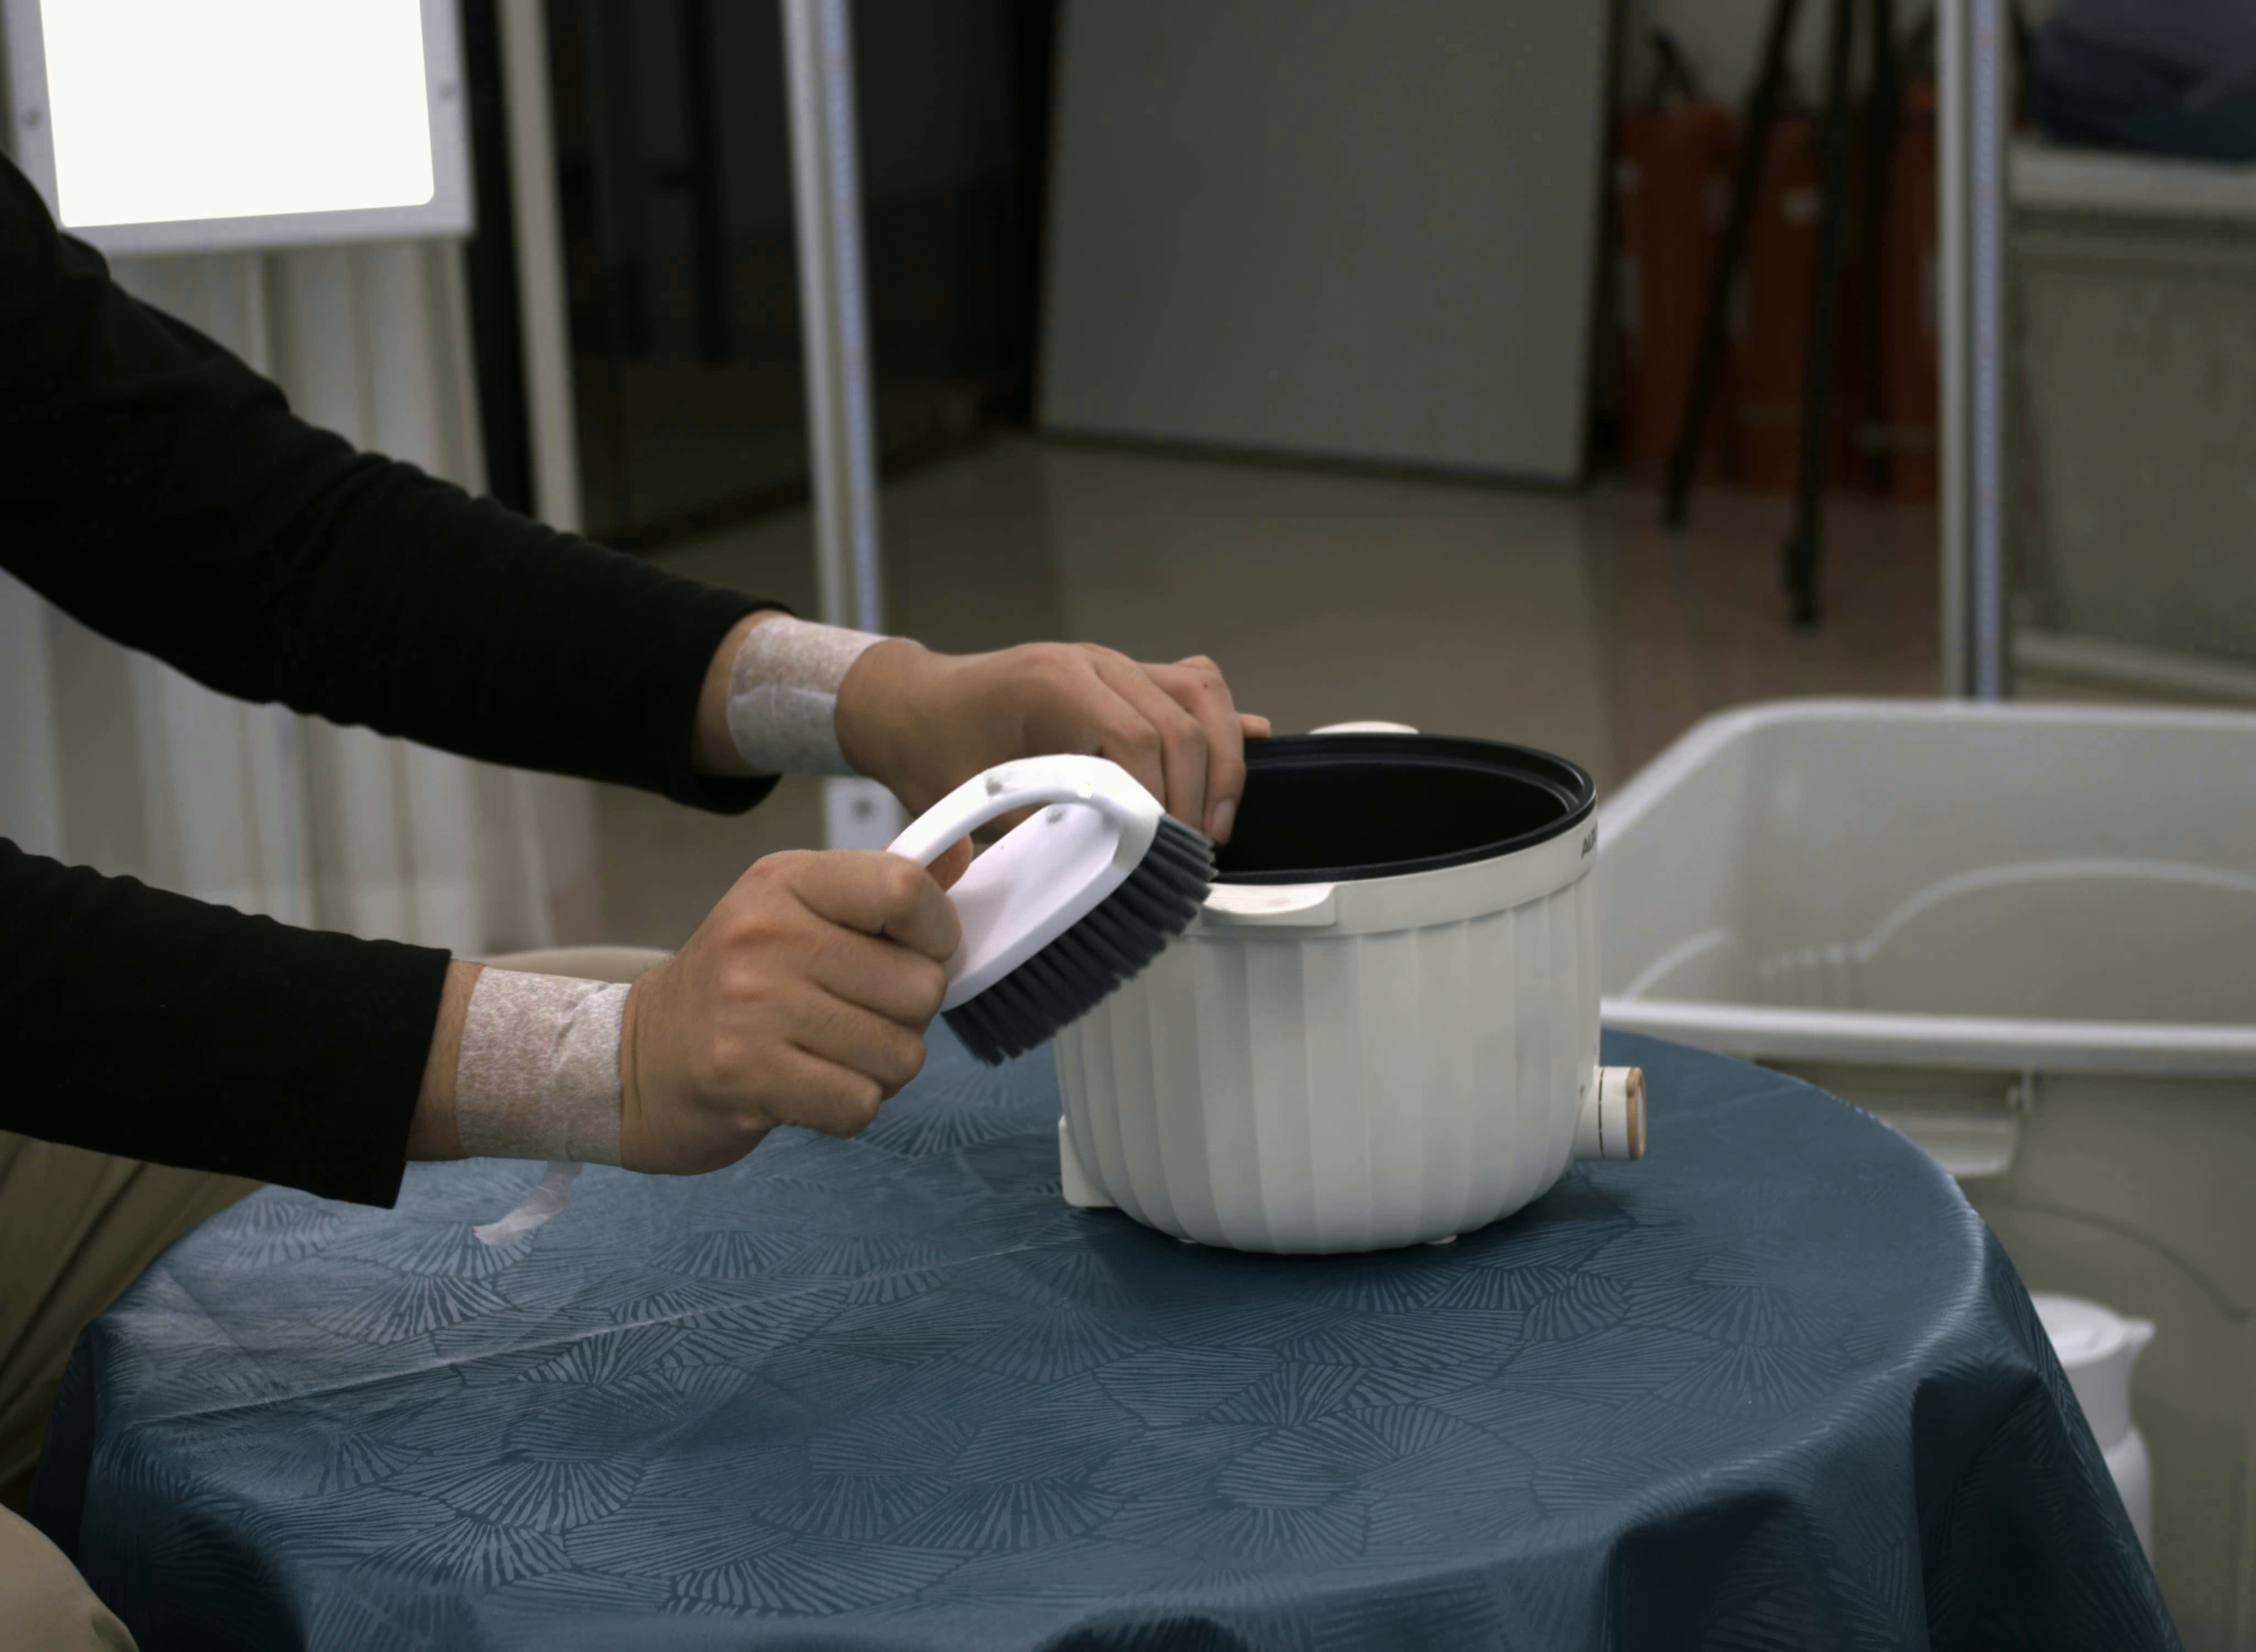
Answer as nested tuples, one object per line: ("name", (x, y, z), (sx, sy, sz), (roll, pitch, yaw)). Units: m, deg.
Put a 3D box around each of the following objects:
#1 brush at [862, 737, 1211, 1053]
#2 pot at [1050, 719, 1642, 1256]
("brush", (-0.034, 0.014, 1.587), (0.099, 0.071, 0.051), (-38, 33, 20))
("pot", (0.067, 0.054, 1.731), (0.189, 0.144, 0.239), (-4, 14, 12))
